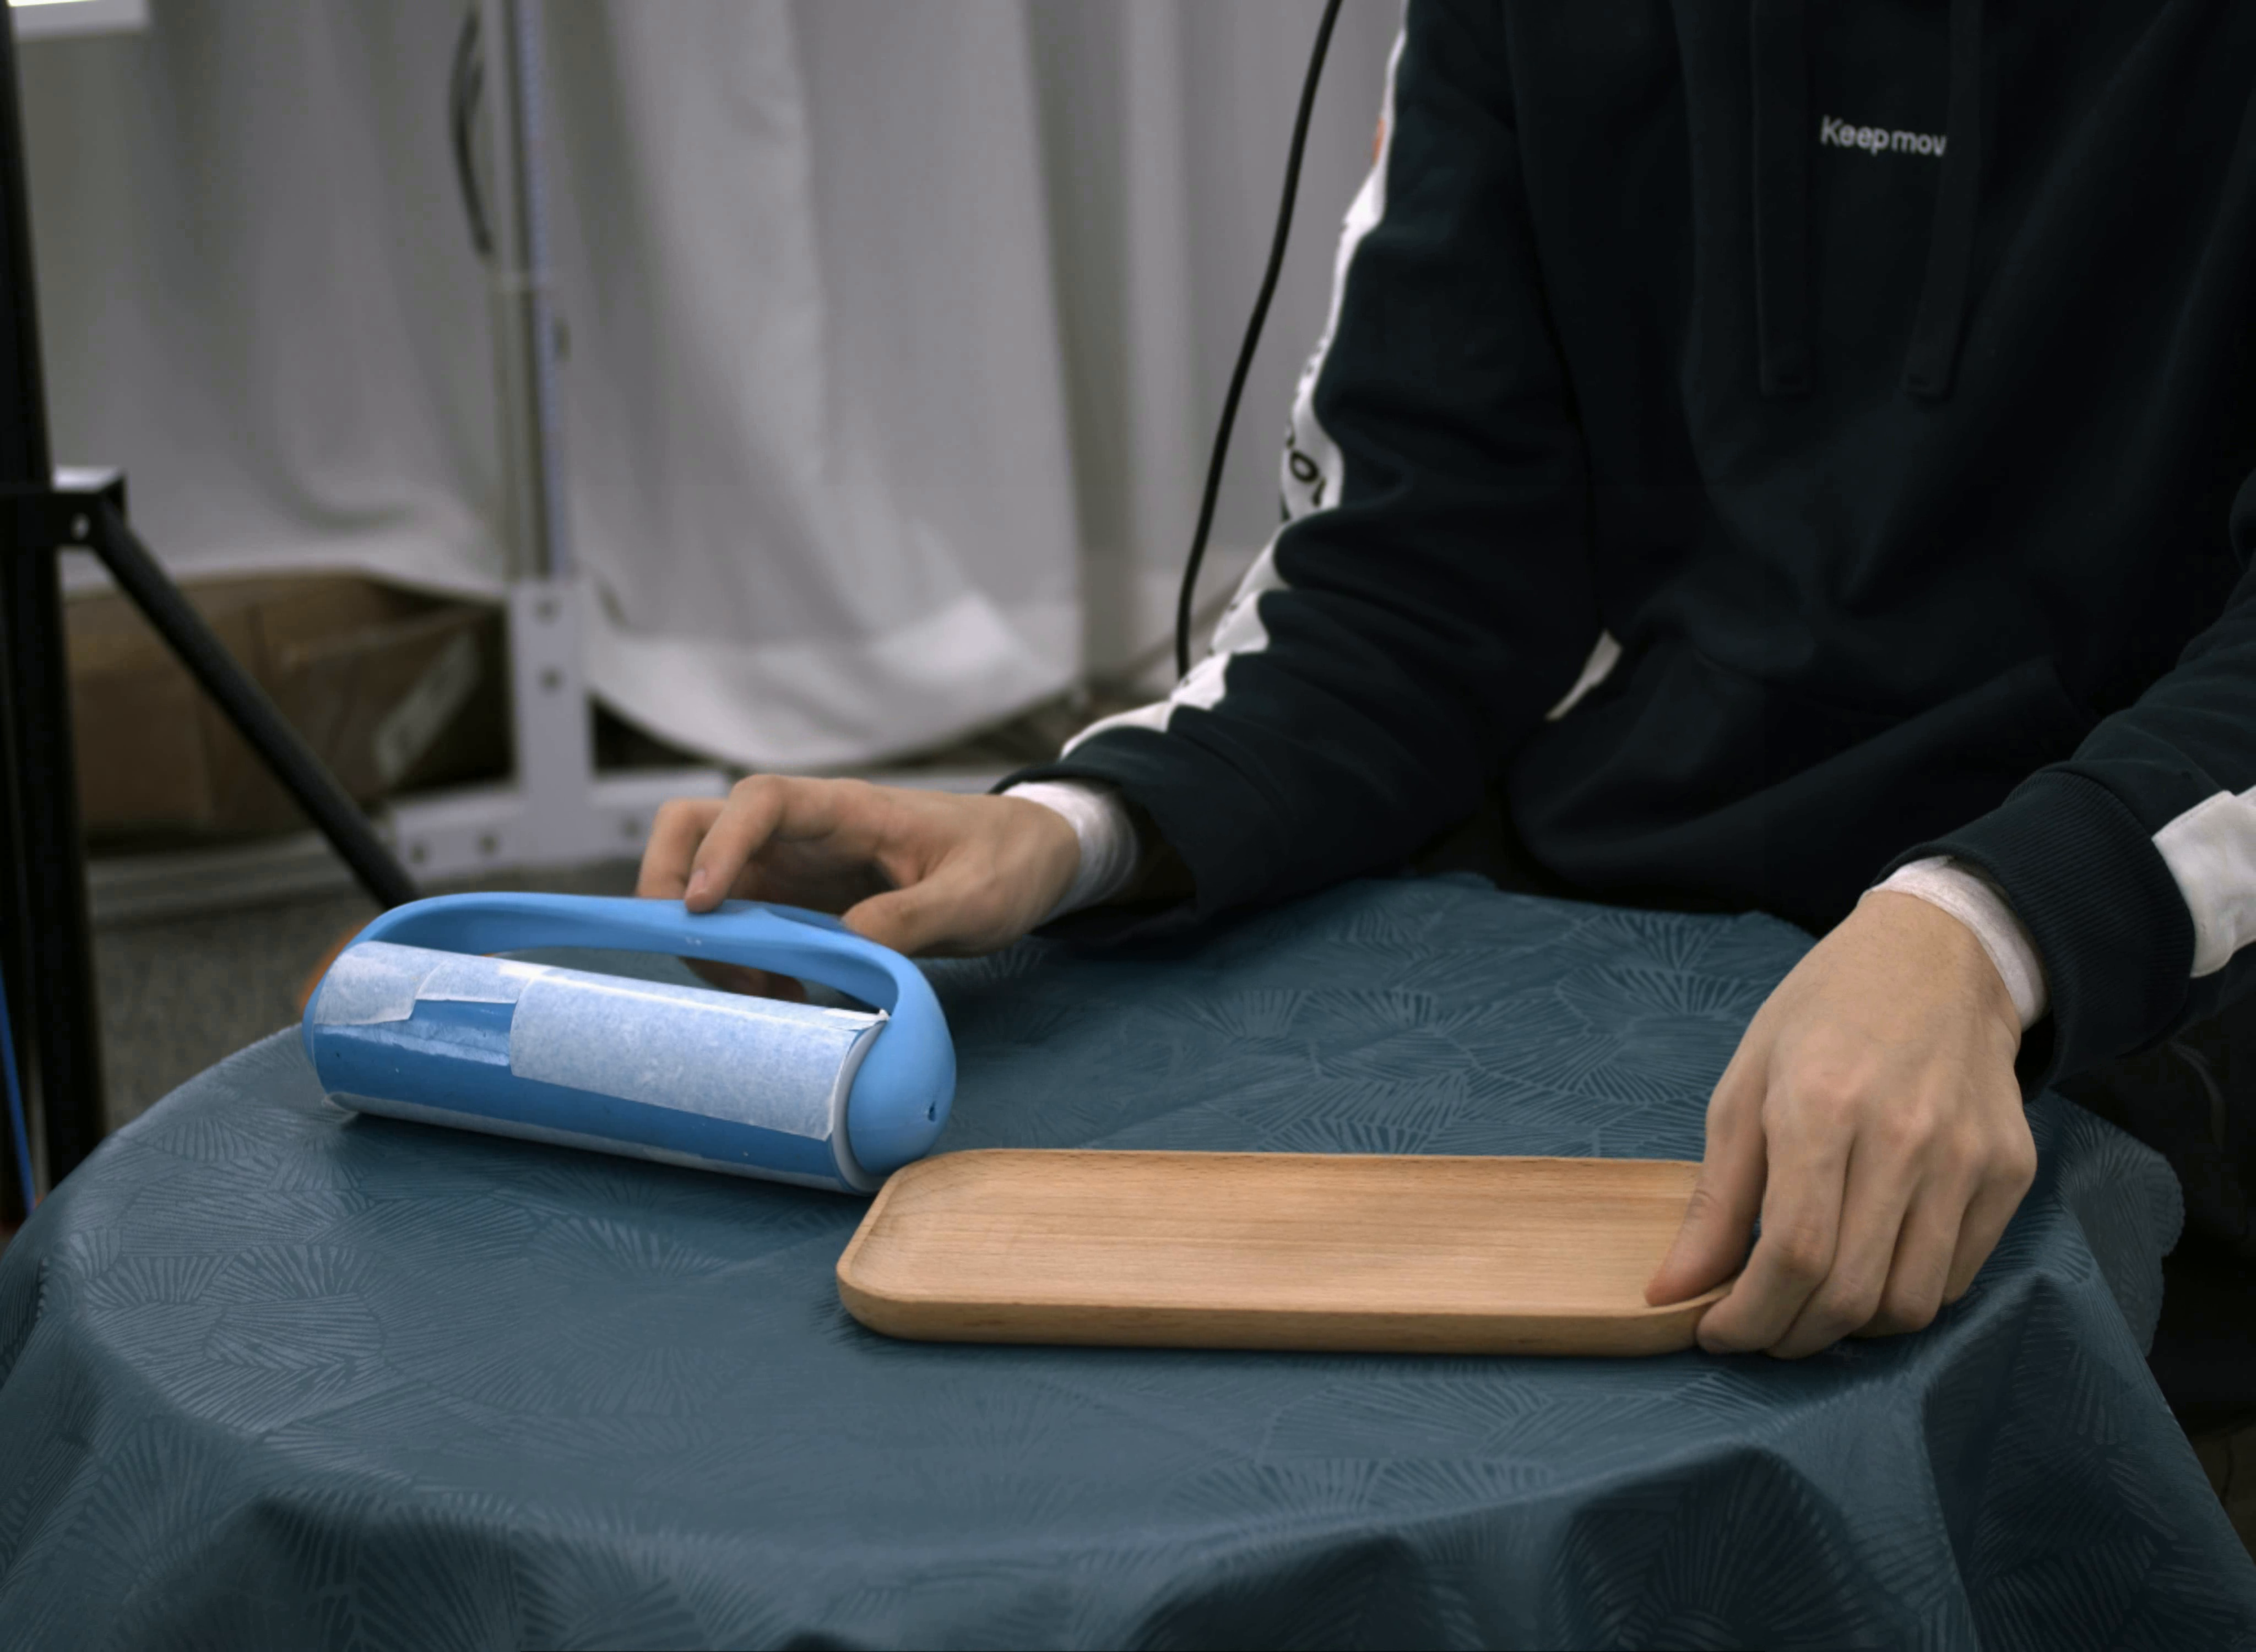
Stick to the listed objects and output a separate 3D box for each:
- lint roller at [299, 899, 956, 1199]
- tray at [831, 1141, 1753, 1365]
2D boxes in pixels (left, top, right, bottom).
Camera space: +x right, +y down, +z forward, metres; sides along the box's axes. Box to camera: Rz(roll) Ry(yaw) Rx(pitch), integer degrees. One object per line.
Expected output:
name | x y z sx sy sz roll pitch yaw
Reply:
lint roller | -0.128 0.056 1.659 0.233 0.068 0.177 5 18 29
tray | 0.047 0.119 1.481 0.252 0.023 0.130 0 14 13
